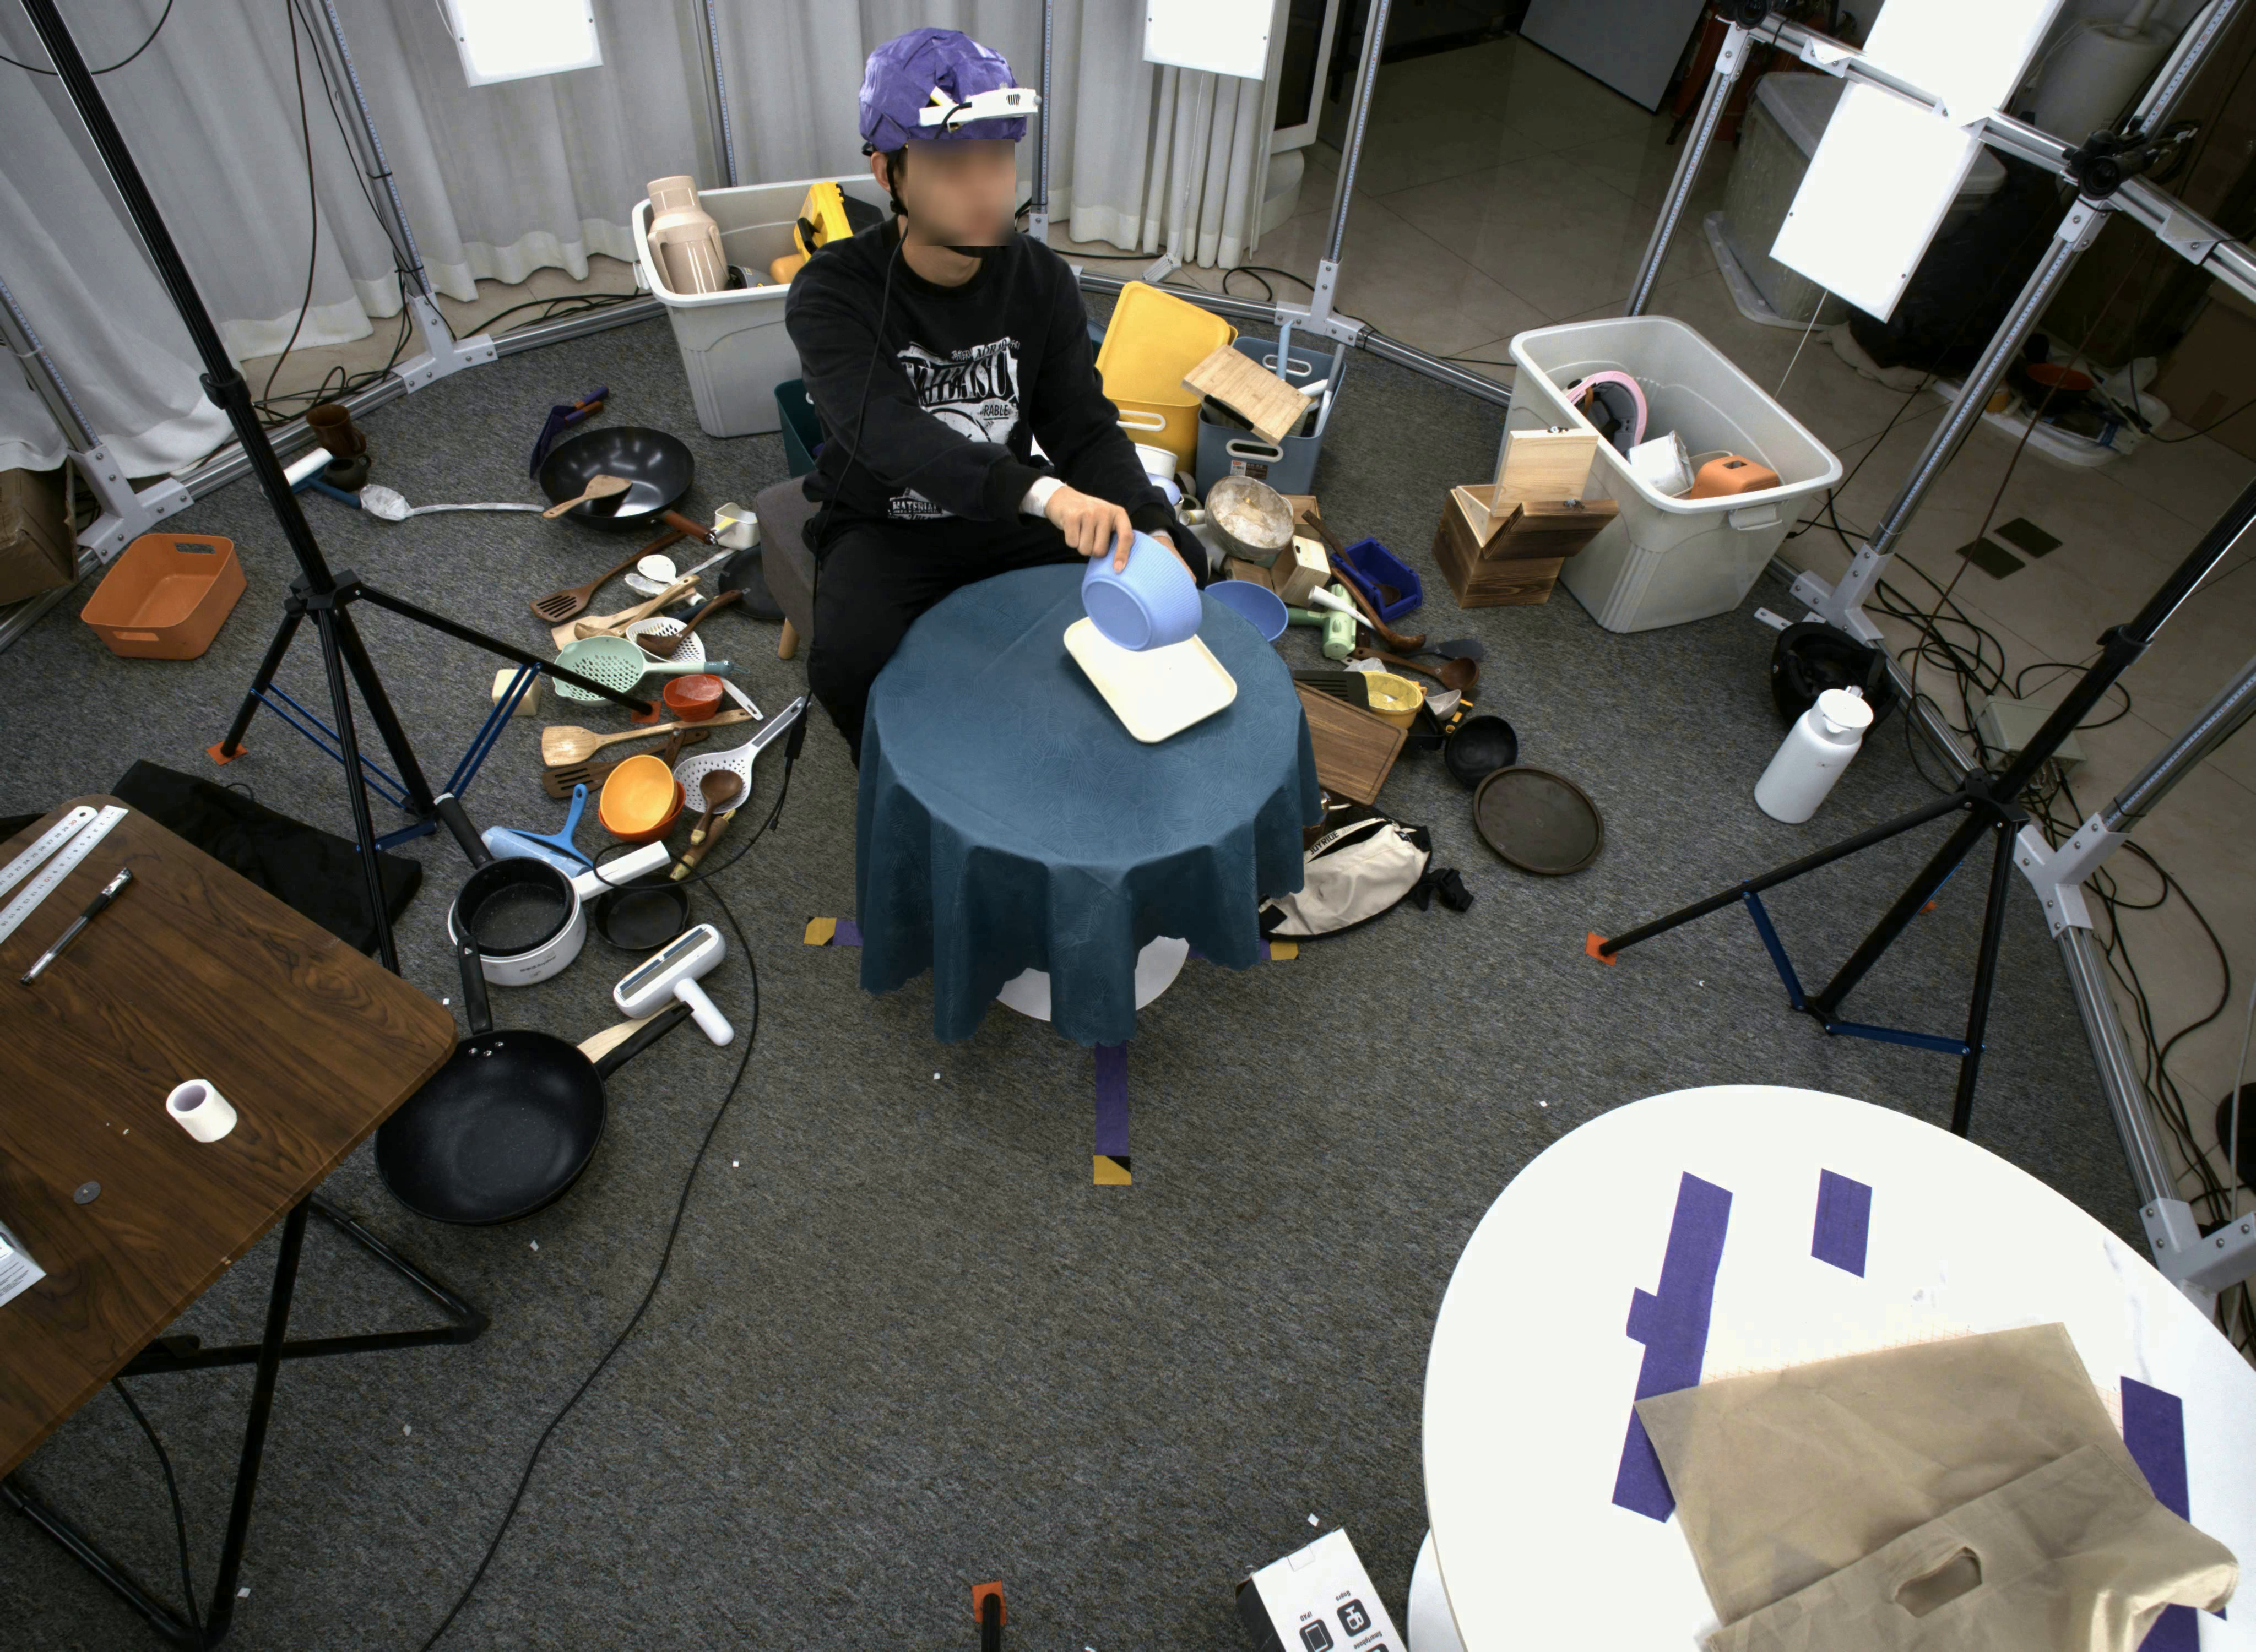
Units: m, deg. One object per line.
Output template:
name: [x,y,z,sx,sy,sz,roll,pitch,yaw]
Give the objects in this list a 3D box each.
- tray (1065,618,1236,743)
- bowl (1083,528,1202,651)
tray: [0.031,-0.228,1.850,0.172,0.017,0.244,-27,61,-16]
bowl: [0.006,-0.293,1.667,0.178,0.172,0.071,32,60,21]
